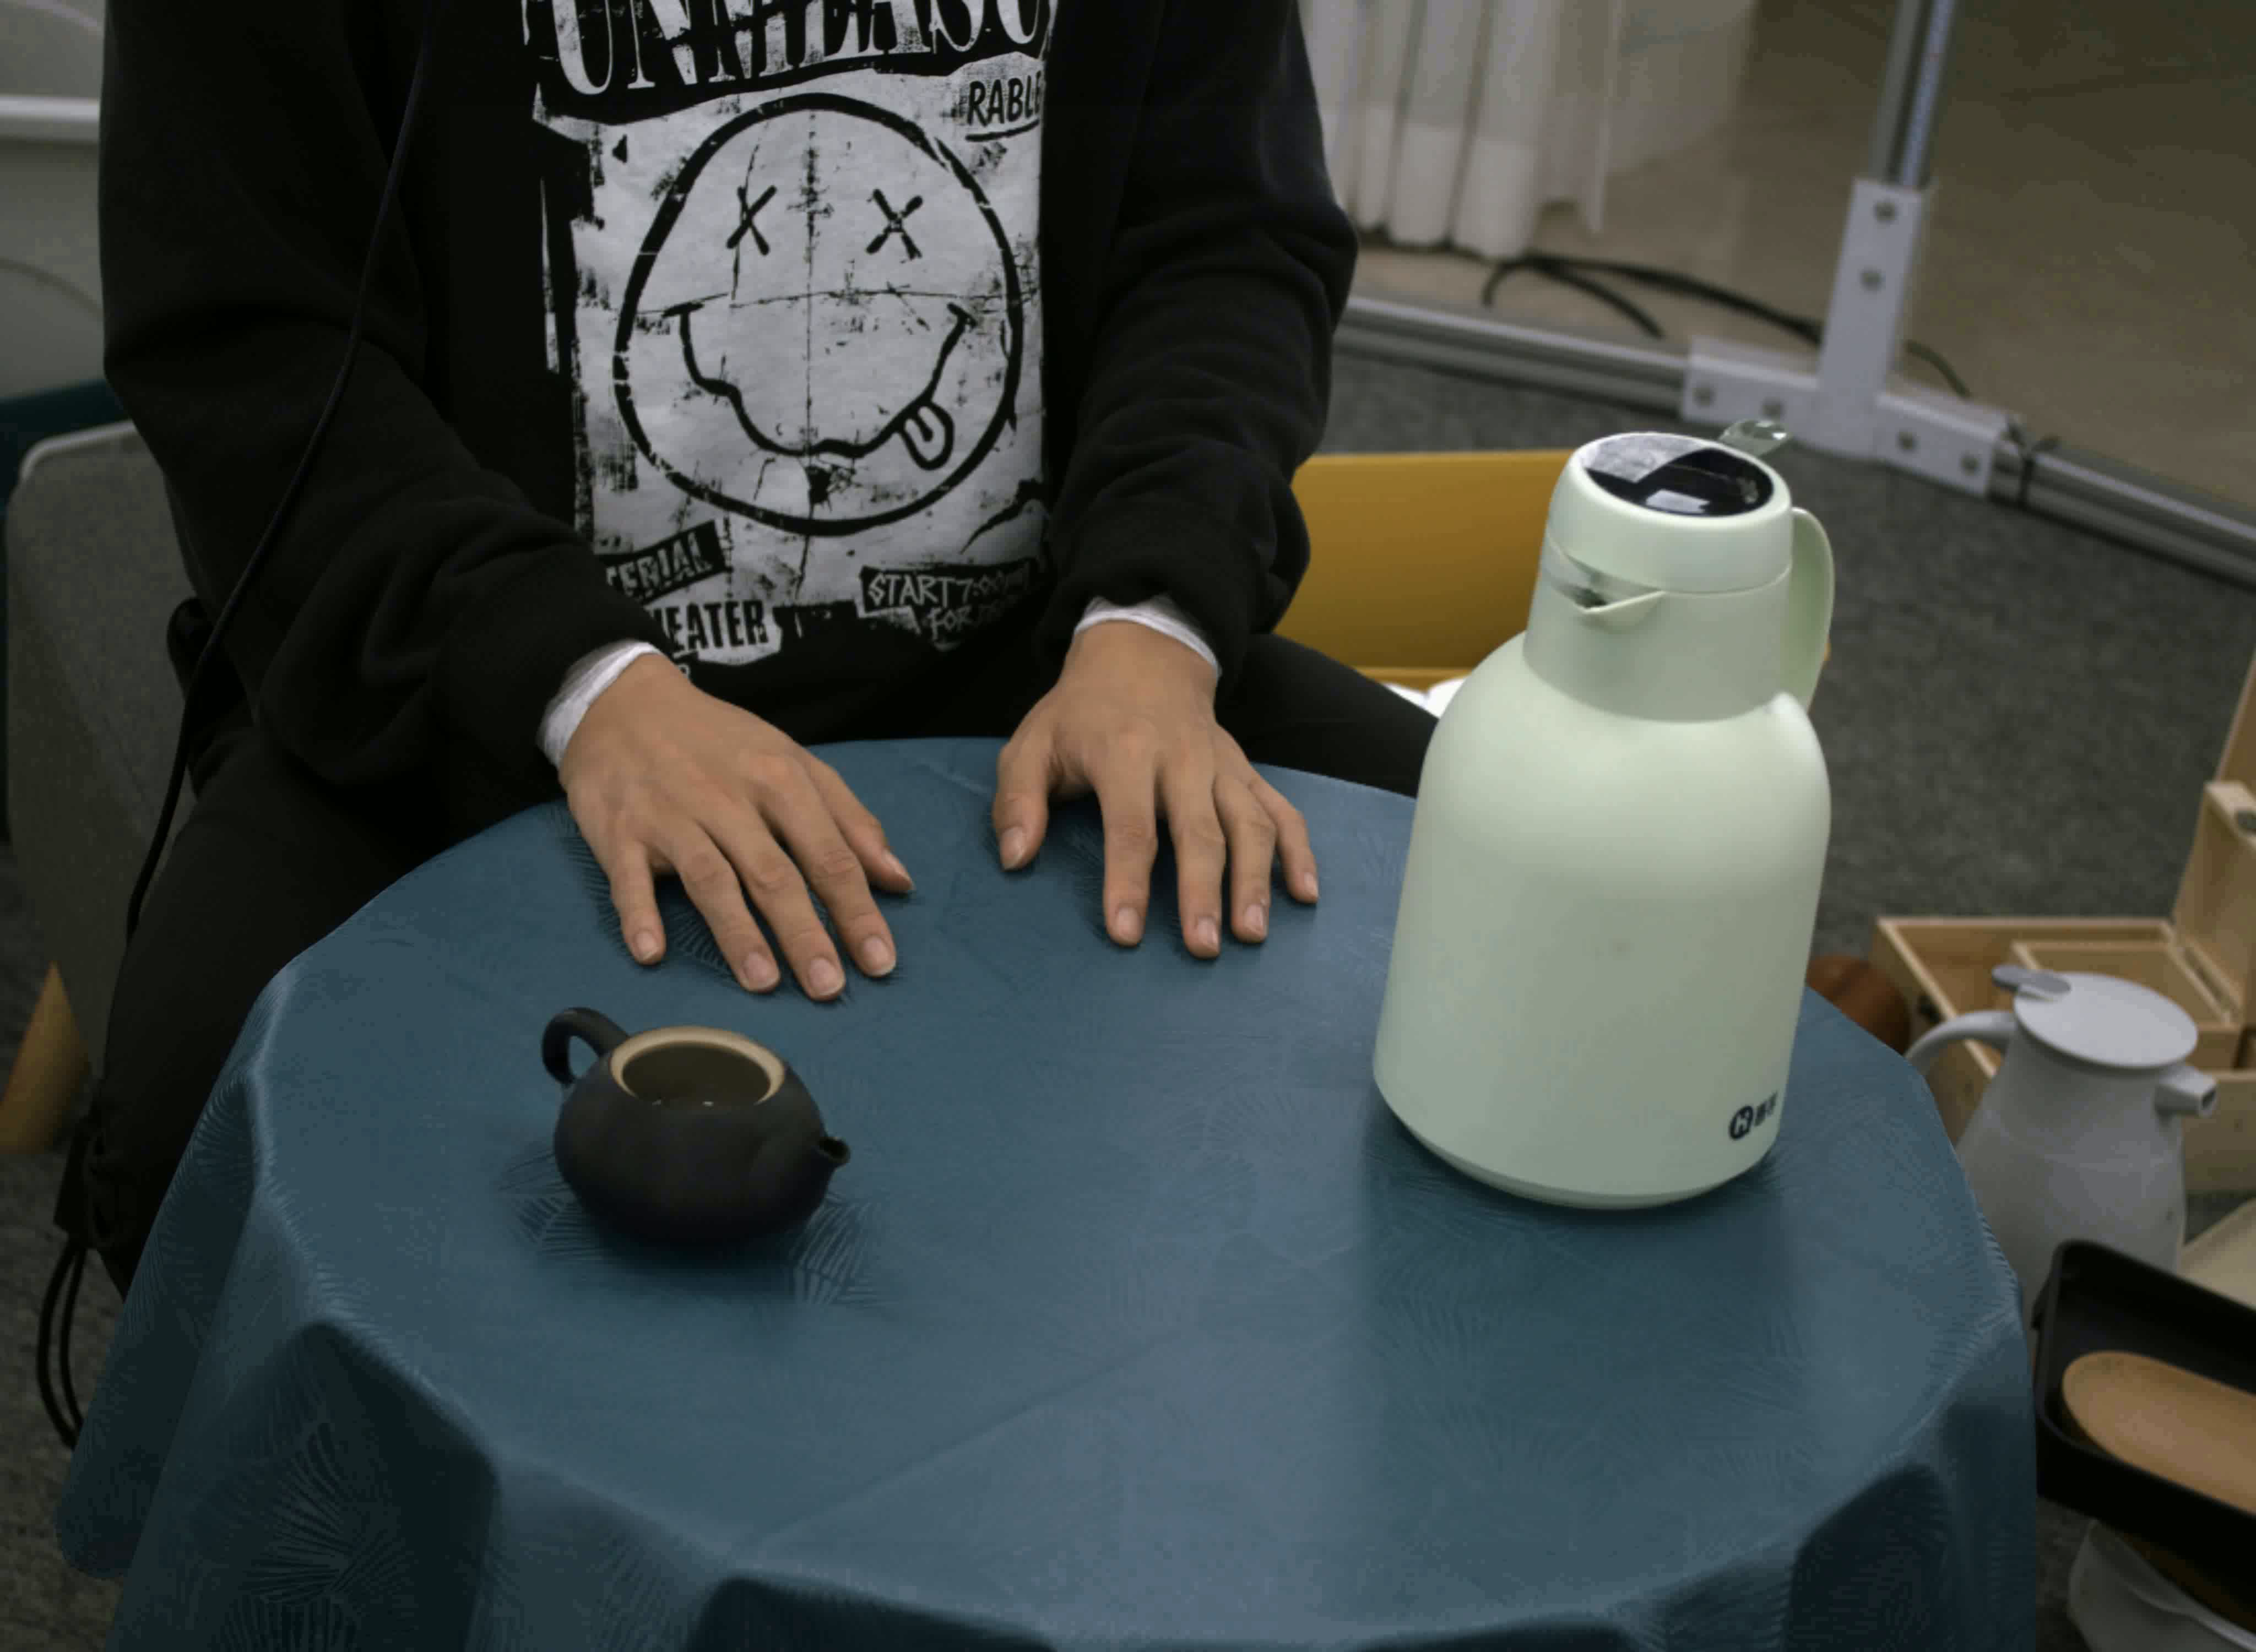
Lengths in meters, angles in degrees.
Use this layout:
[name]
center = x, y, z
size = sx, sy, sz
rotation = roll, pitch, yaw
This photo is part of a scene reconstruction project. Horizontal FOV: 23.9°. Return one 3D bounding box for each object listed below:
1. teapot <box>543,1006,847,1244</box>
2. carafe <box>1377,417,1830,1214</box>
[teapot]
center = -0.145, 0.102, 1.756
size = 0.134, 0.053, 0.090
rotation = 25, 30, 32
[carafe]
center = 0.178, -0.010, 1.832
size = 0.145, 0.256, 0.186
rotation = 21, 26, 29
